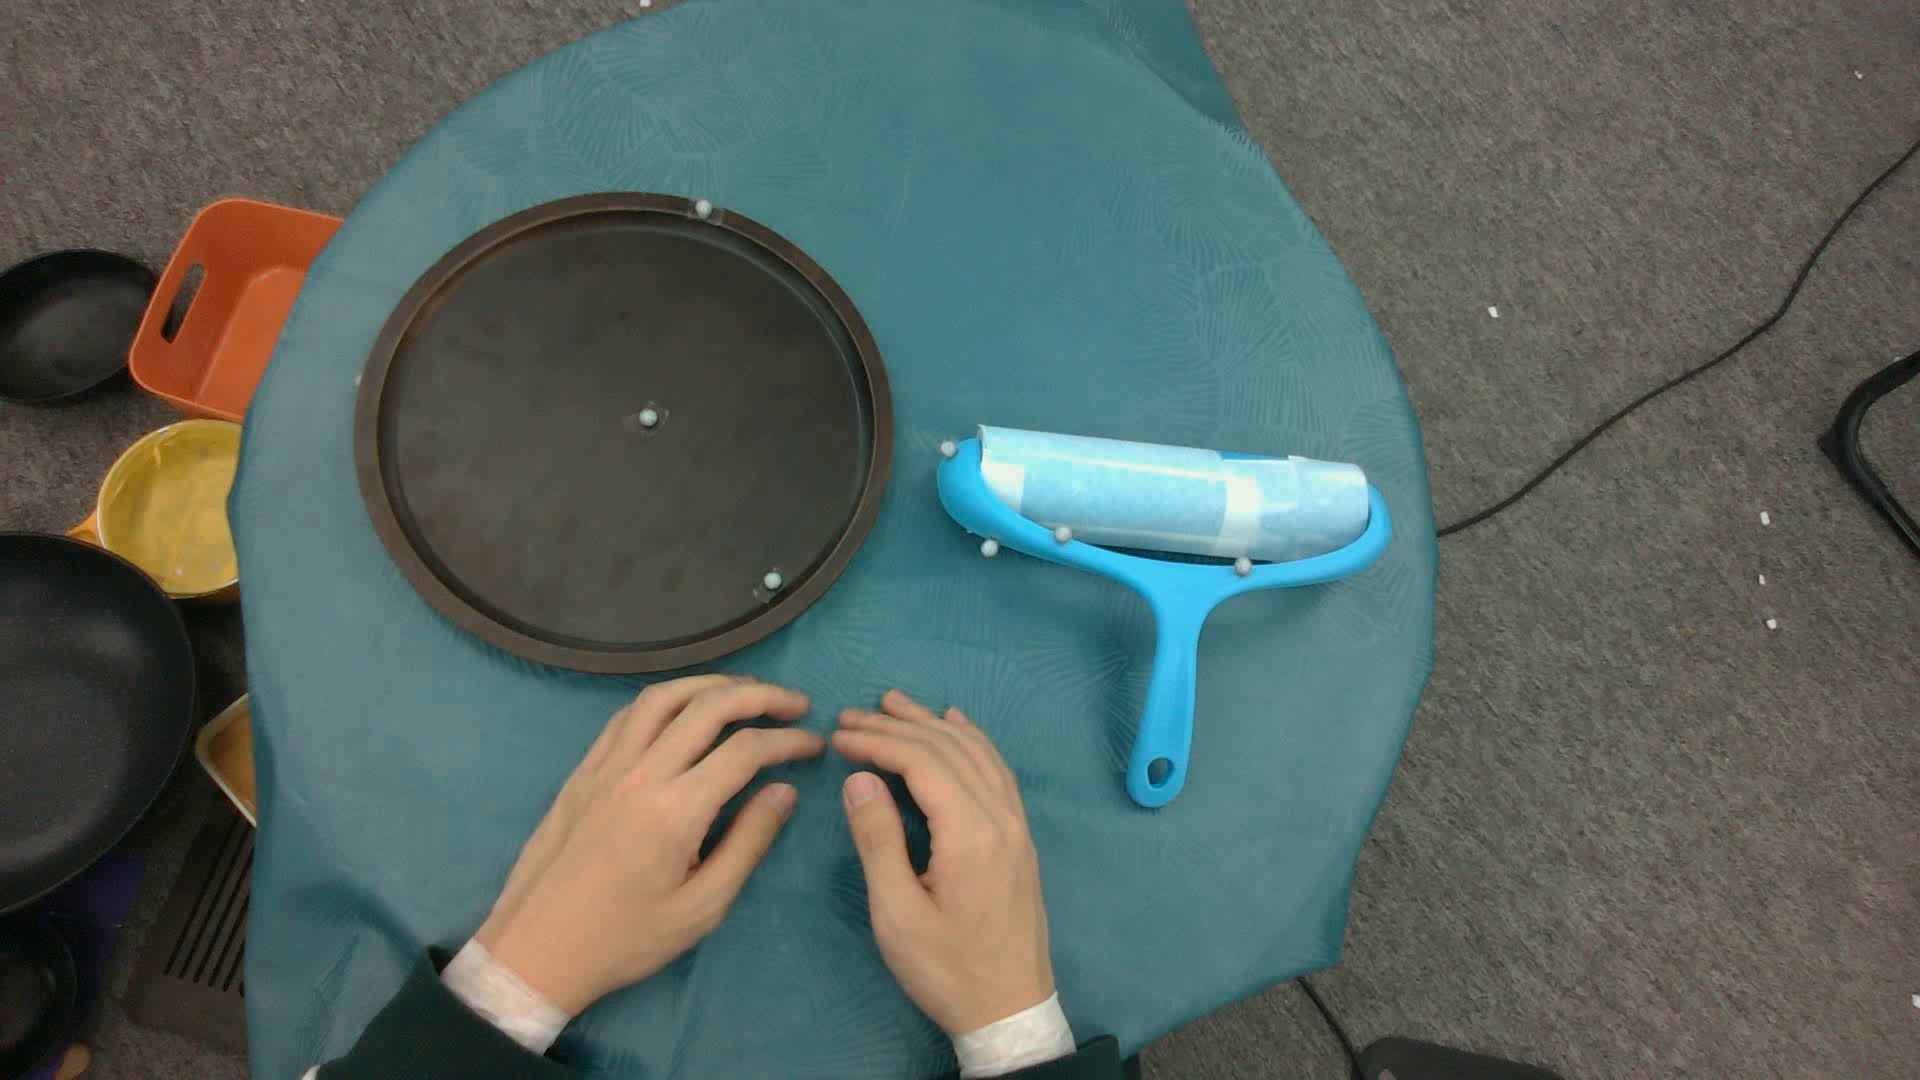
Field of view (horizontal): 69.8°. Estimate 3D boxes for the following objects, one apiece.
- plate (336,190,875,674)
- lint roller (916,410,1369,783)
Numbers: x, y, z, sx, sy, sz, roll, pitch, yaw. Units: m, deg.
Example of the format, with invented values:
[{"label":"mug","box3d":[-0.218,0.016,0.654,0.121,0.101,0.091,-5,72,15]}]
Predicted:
[{"label":"plate","box3d":[-0.168,-0.057,0.673,0.255,0.029,0.255,3,69,-7]},{"label":"lint roller","box3d":[0.094,0.023,0.668,0.229,0.067,0.181,1,70,-10]}]
